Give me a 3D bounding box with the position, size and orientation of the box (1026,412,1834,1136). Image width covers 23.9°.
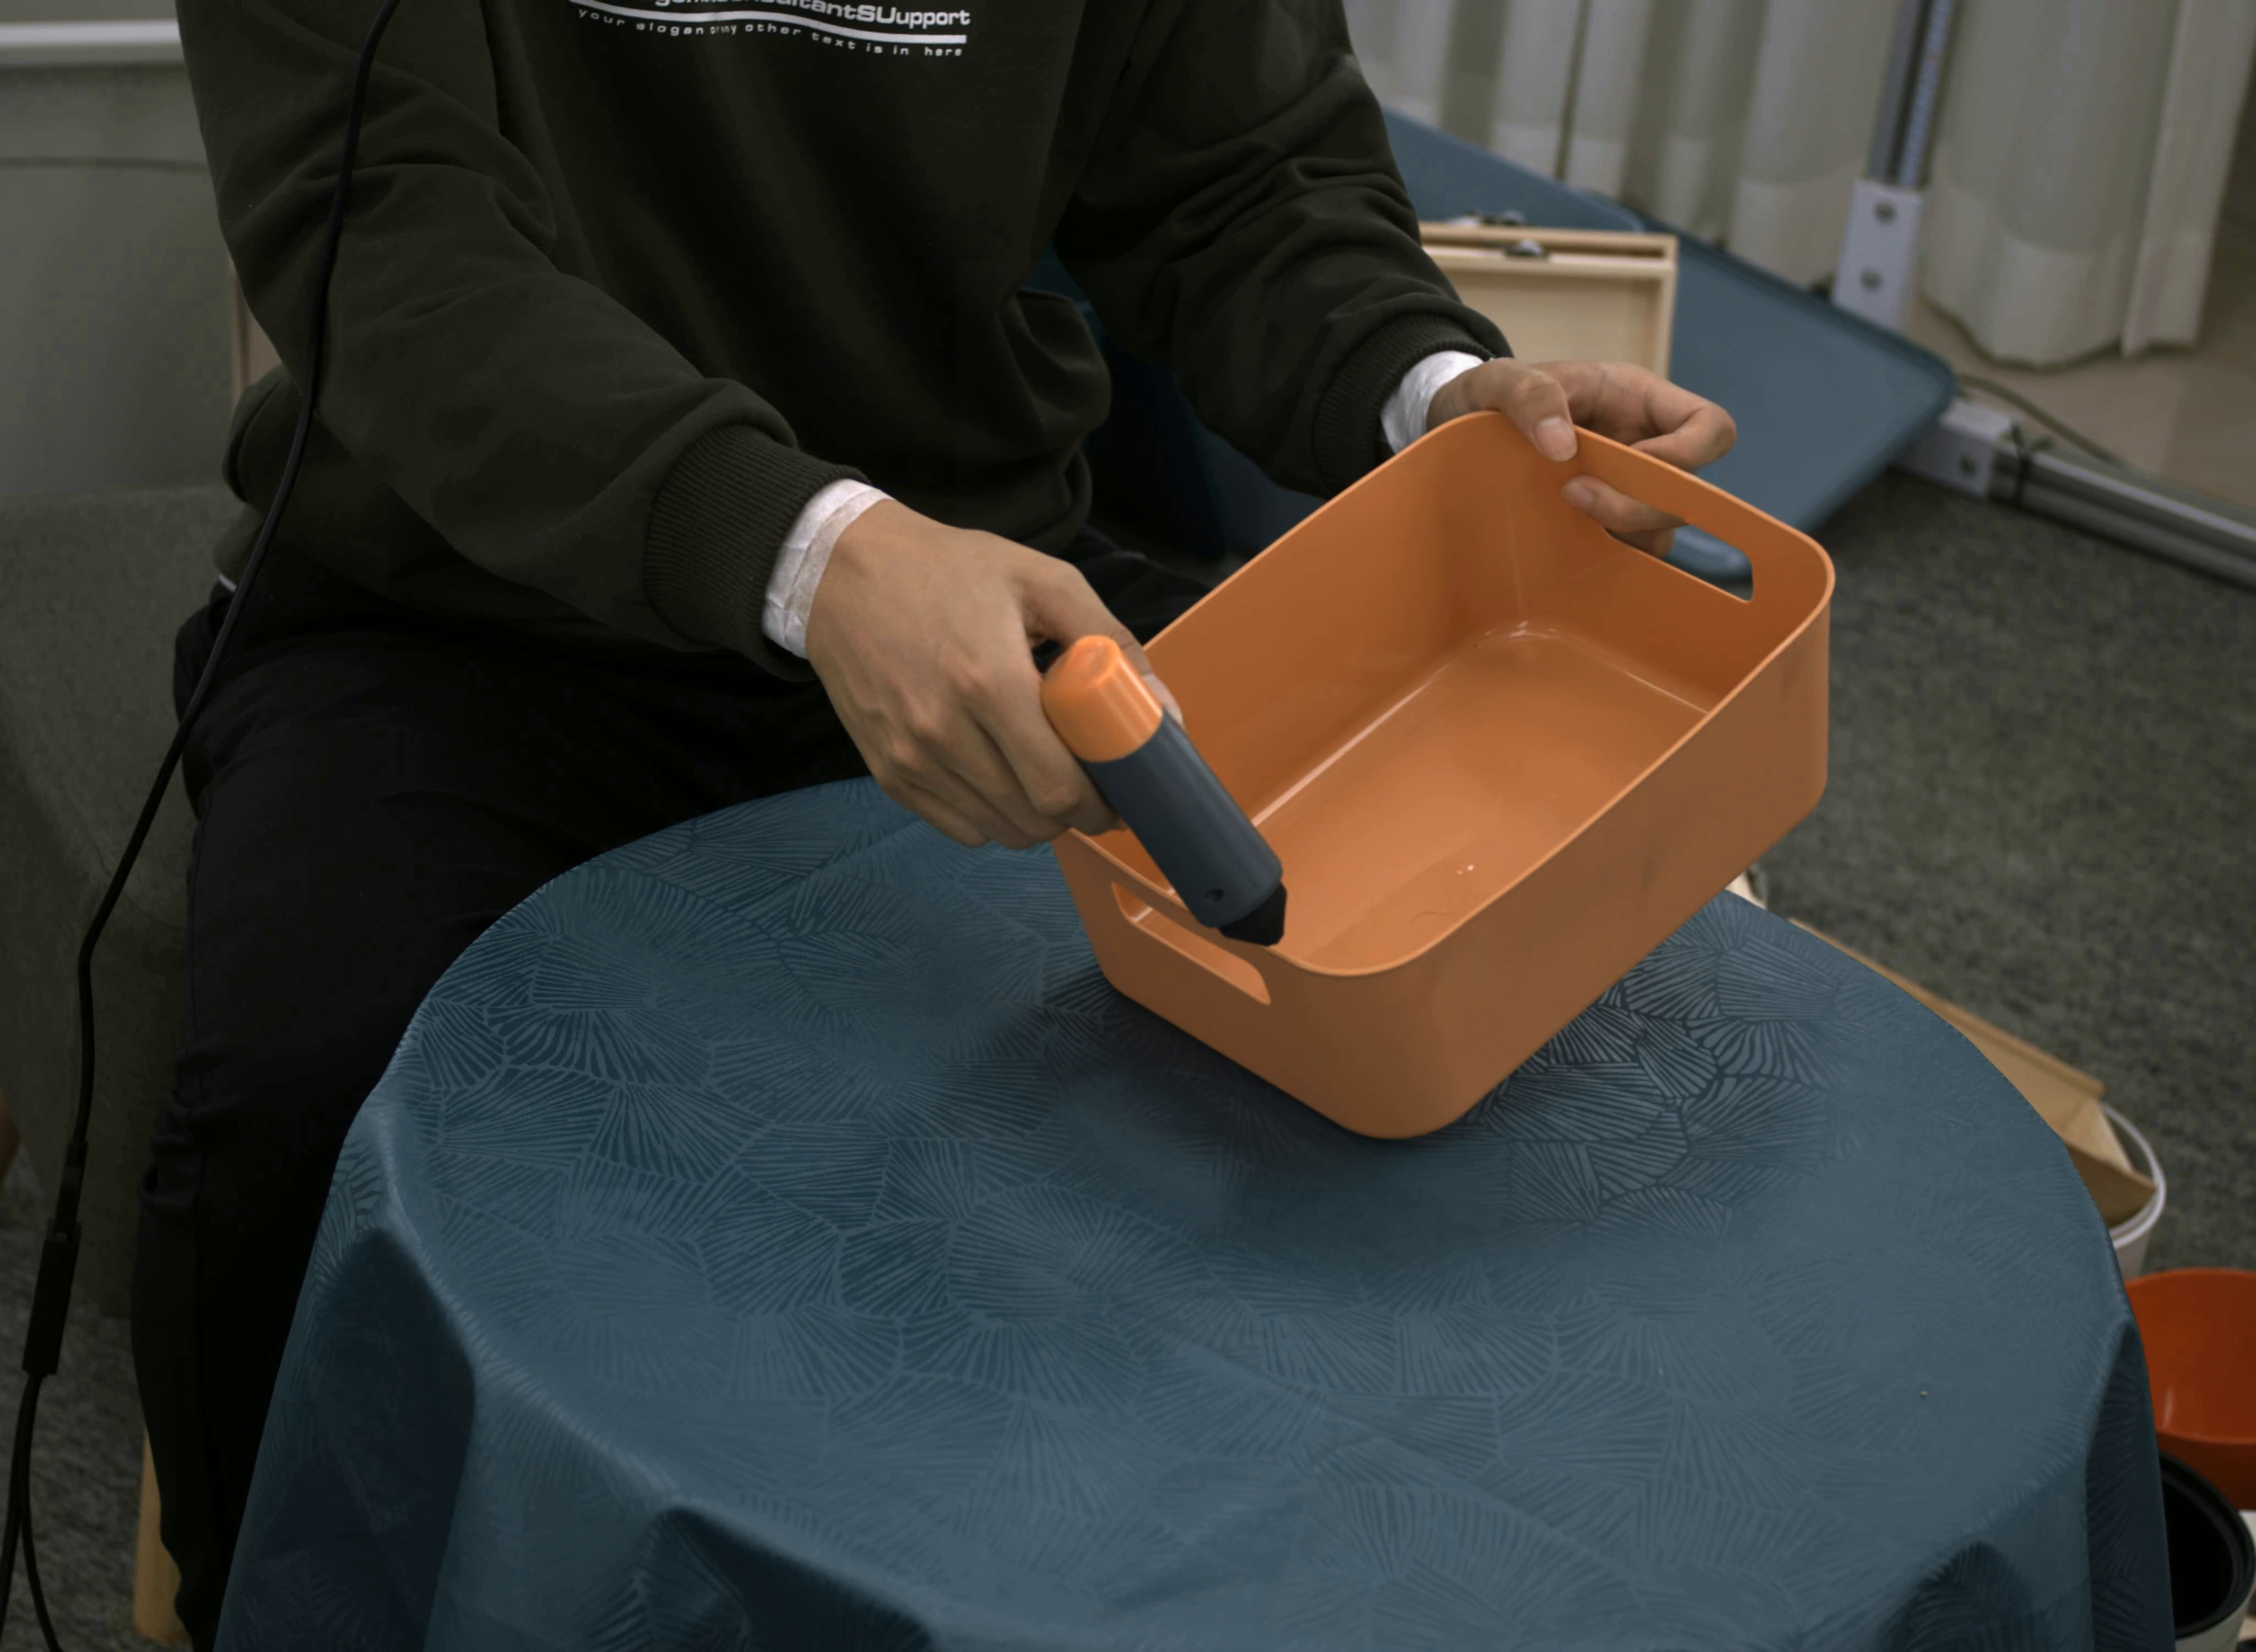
[{"bbox_3d":[0.115,-0.018,1.920,0.273,0.102,0.201,-39,46,-26],"label":"box"}]

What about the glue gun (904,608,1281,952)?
[{"bbox_3d":[-0.010,-0.018,1.799,0.041,0.117,0.141,-41,36,-18],"label":"glue gun"}]
